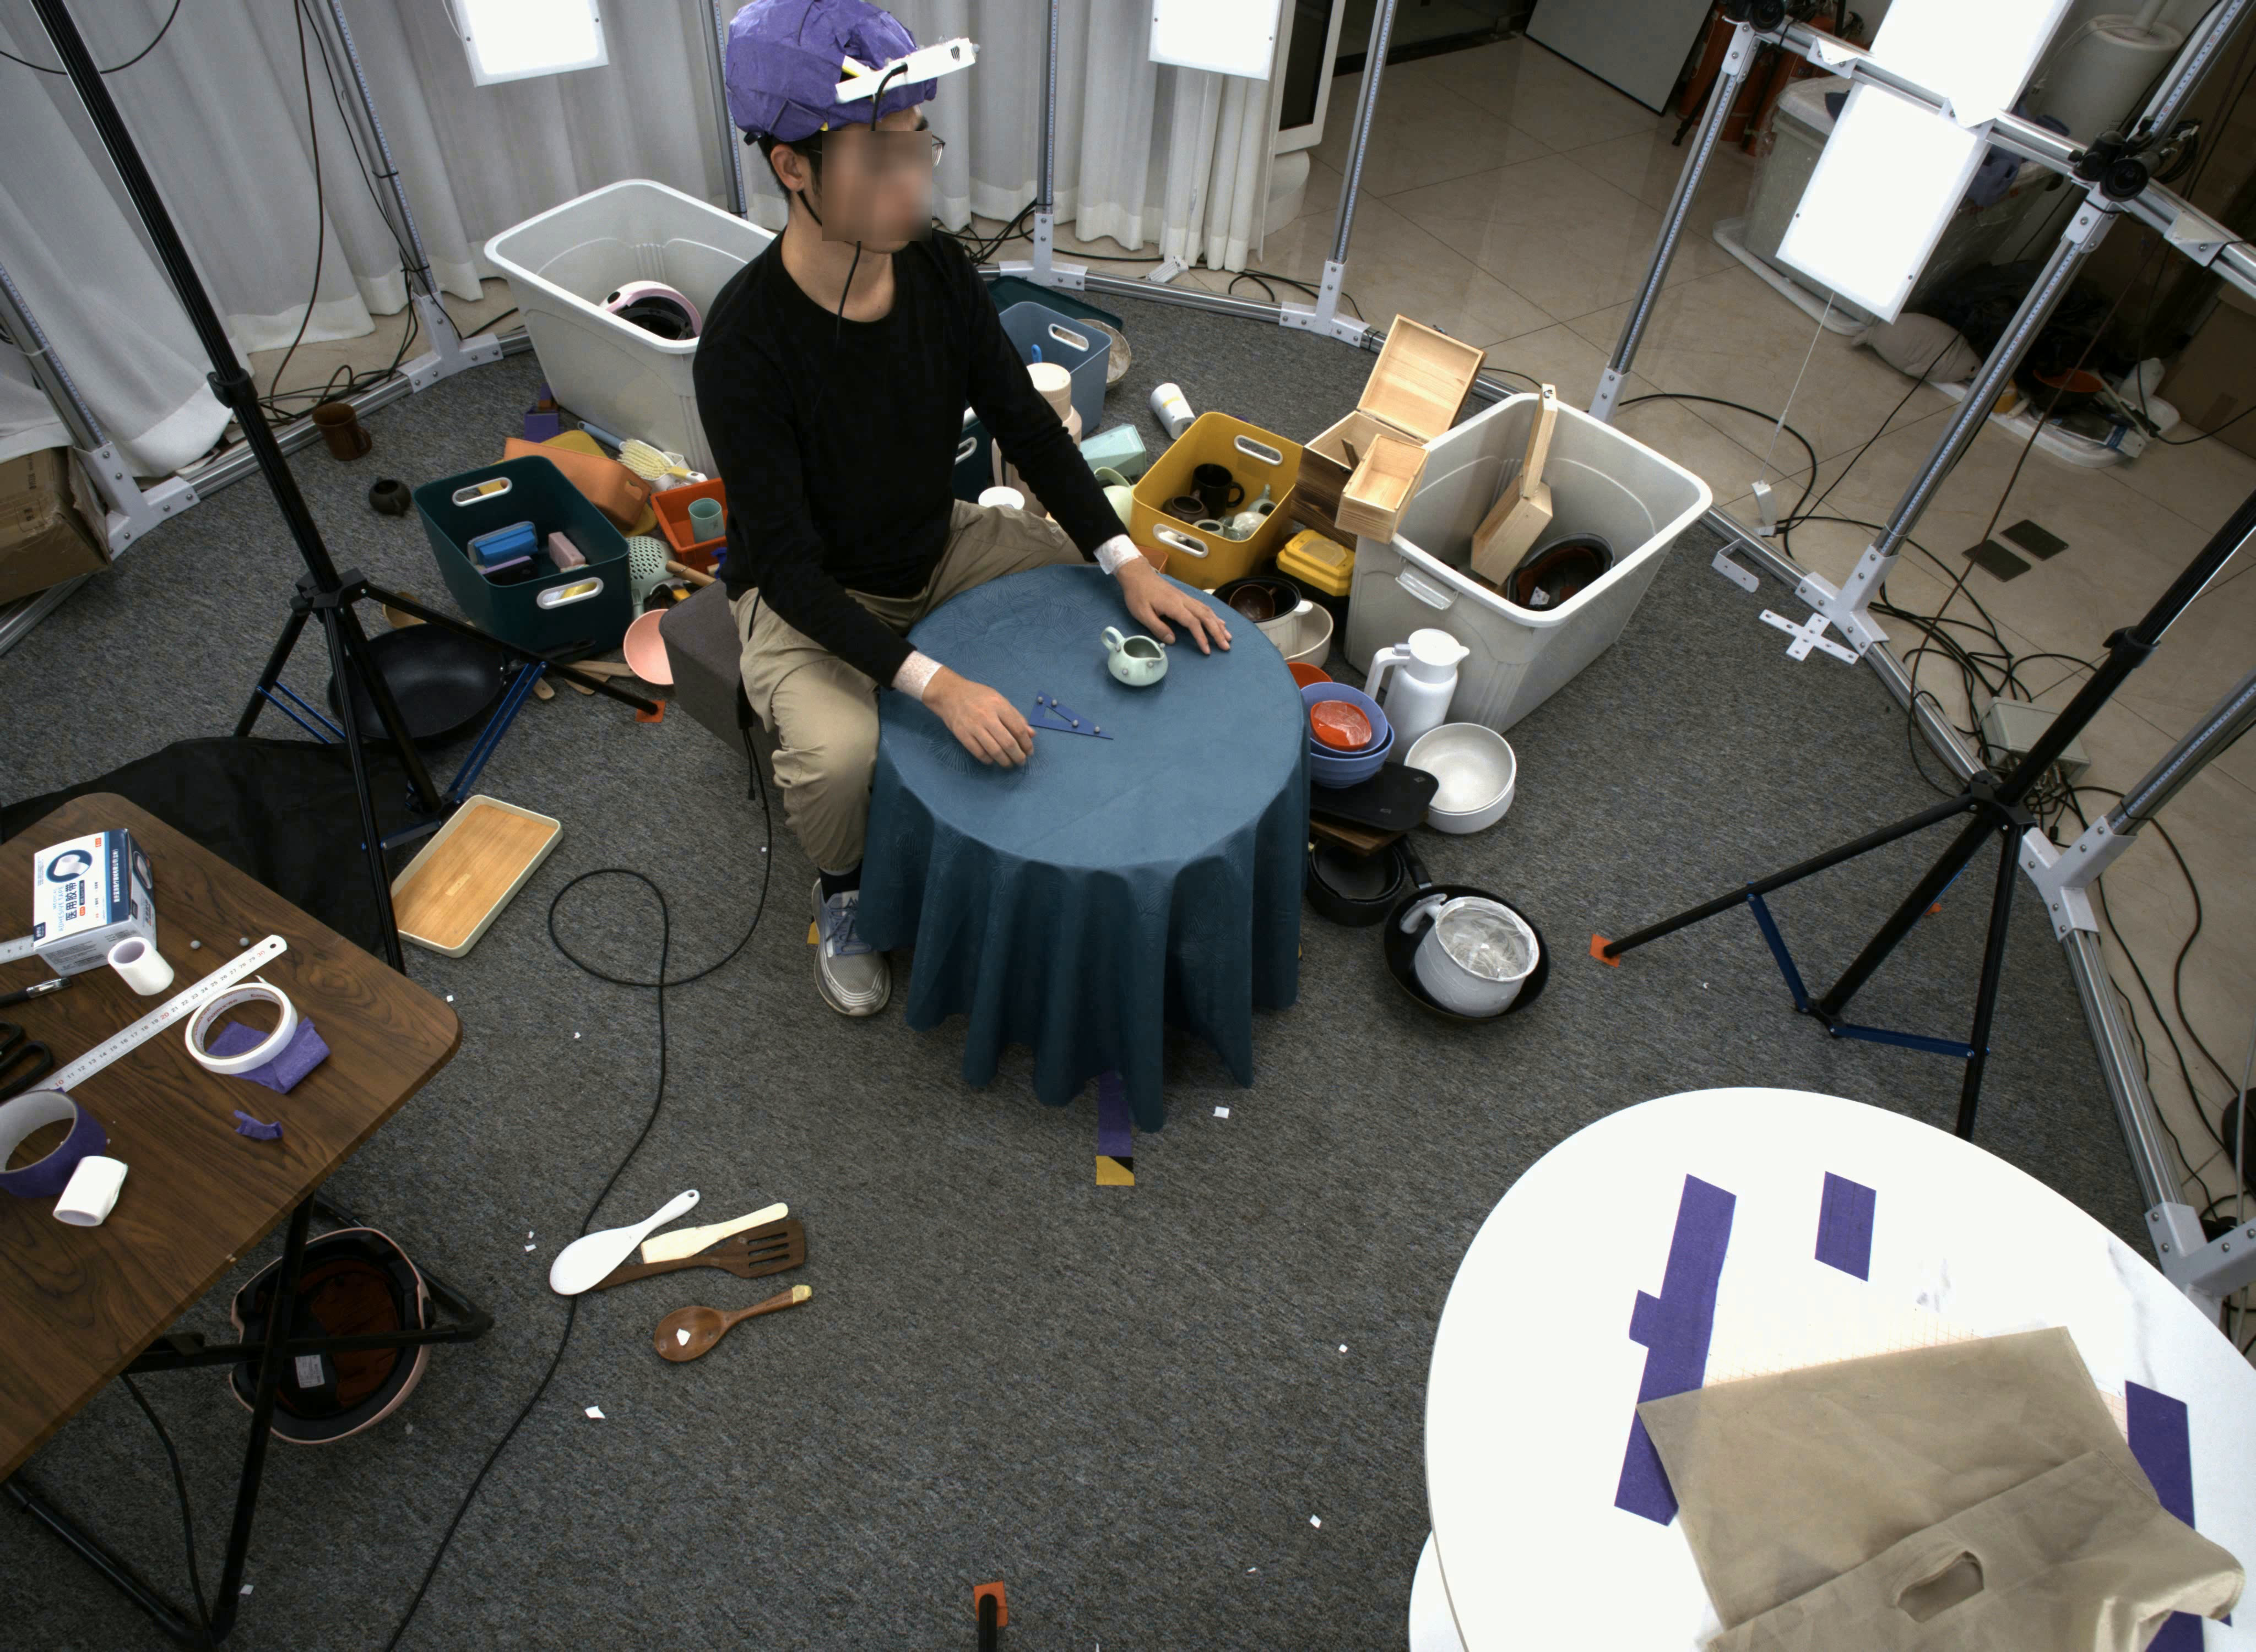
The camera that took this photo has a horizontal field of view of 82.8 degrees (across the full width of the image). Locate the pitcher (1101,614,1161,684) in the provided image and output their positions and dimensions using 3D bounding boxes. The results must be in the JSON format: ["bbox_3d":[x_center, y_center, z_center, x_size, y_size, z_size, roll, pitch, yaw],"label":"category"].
[{"bbox_3d":[-0.001,-0.256,1.848,0.086,0.059,0.109,-33,76,-17],"label":"pitcher"}]

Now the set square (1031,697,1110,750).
[{"bbox_3d":[-0.088,-0.134,1.777,0.134,0.006,0.062,38,55,25],"label":"set square"}]
